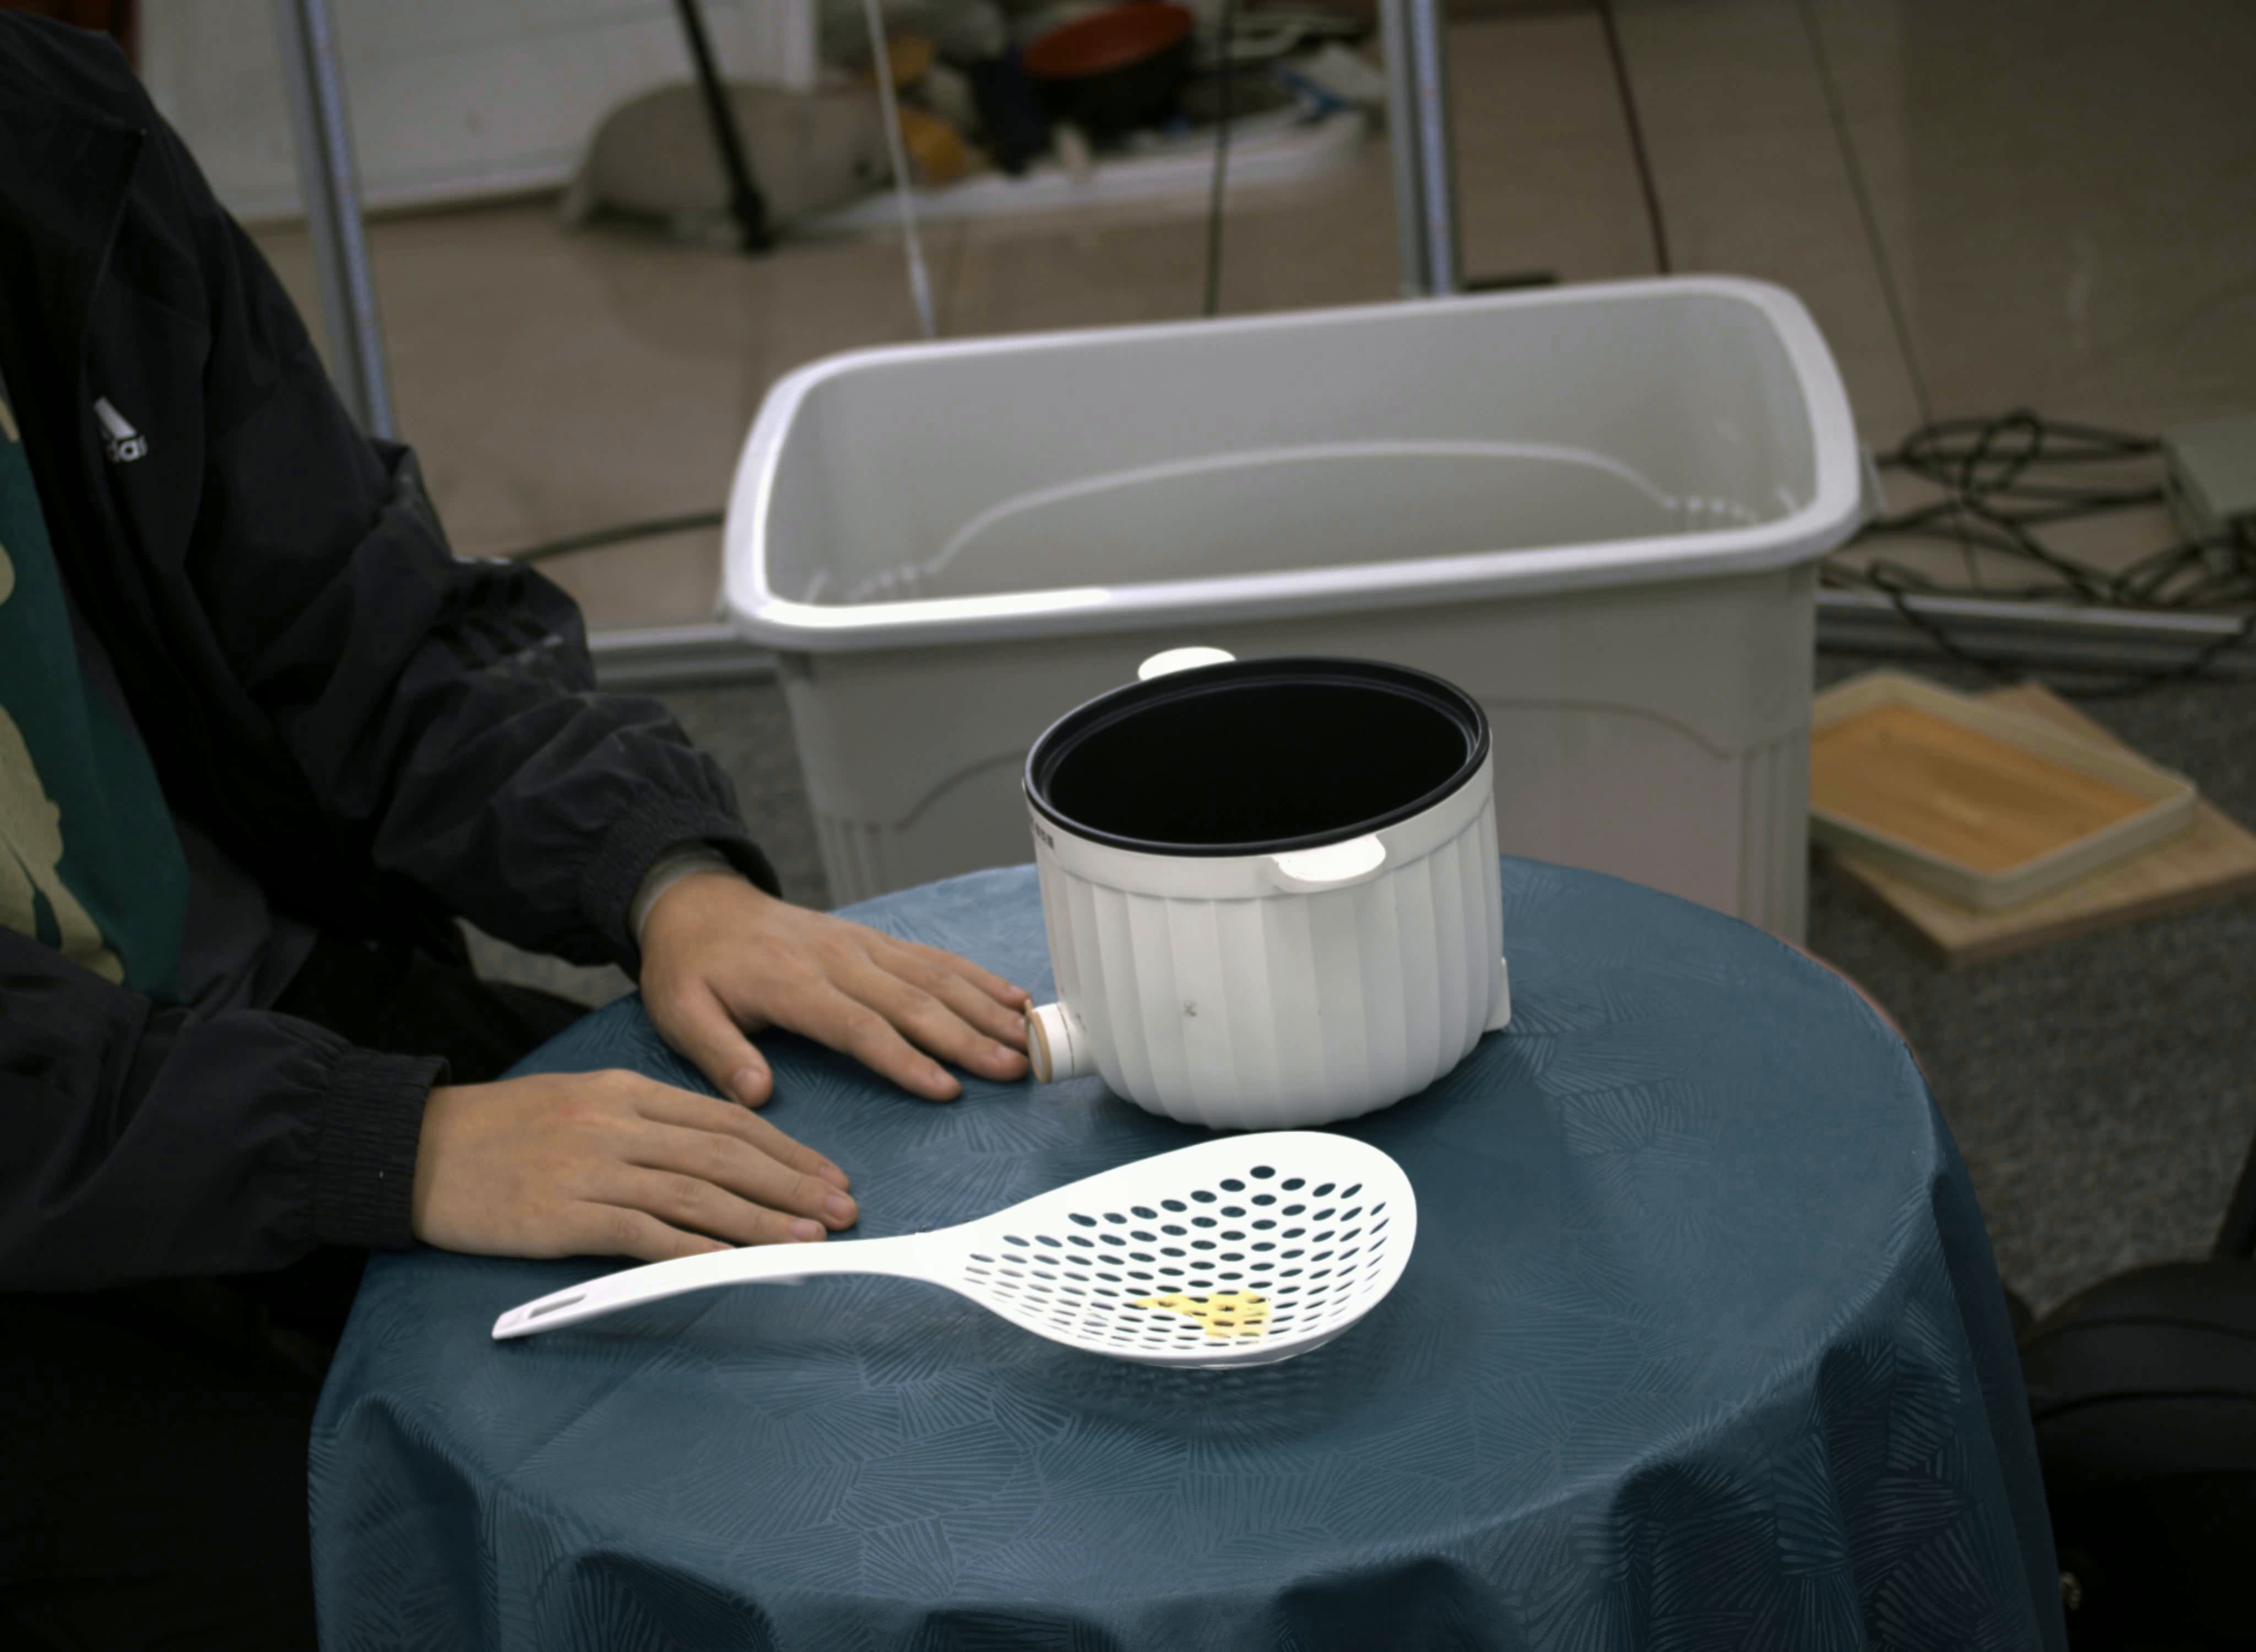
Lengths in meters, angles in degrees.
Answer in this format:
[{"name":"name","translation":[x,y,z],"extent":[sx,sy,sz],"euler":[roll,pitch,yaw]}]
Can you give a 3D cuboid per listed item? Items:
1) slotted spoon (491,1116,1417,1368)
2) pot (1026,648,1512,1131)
[{"name":"slotted spoon","translation":[-0.066,0.165,2.056],"extent":[0.347,0.051,0.134],"euler":[-1,34,11]},{"name":"pot","translation":[0.052,0.032,2.199],"extent":[0.190,0.145,0.237],"euler":[-9,24,-13]}]
